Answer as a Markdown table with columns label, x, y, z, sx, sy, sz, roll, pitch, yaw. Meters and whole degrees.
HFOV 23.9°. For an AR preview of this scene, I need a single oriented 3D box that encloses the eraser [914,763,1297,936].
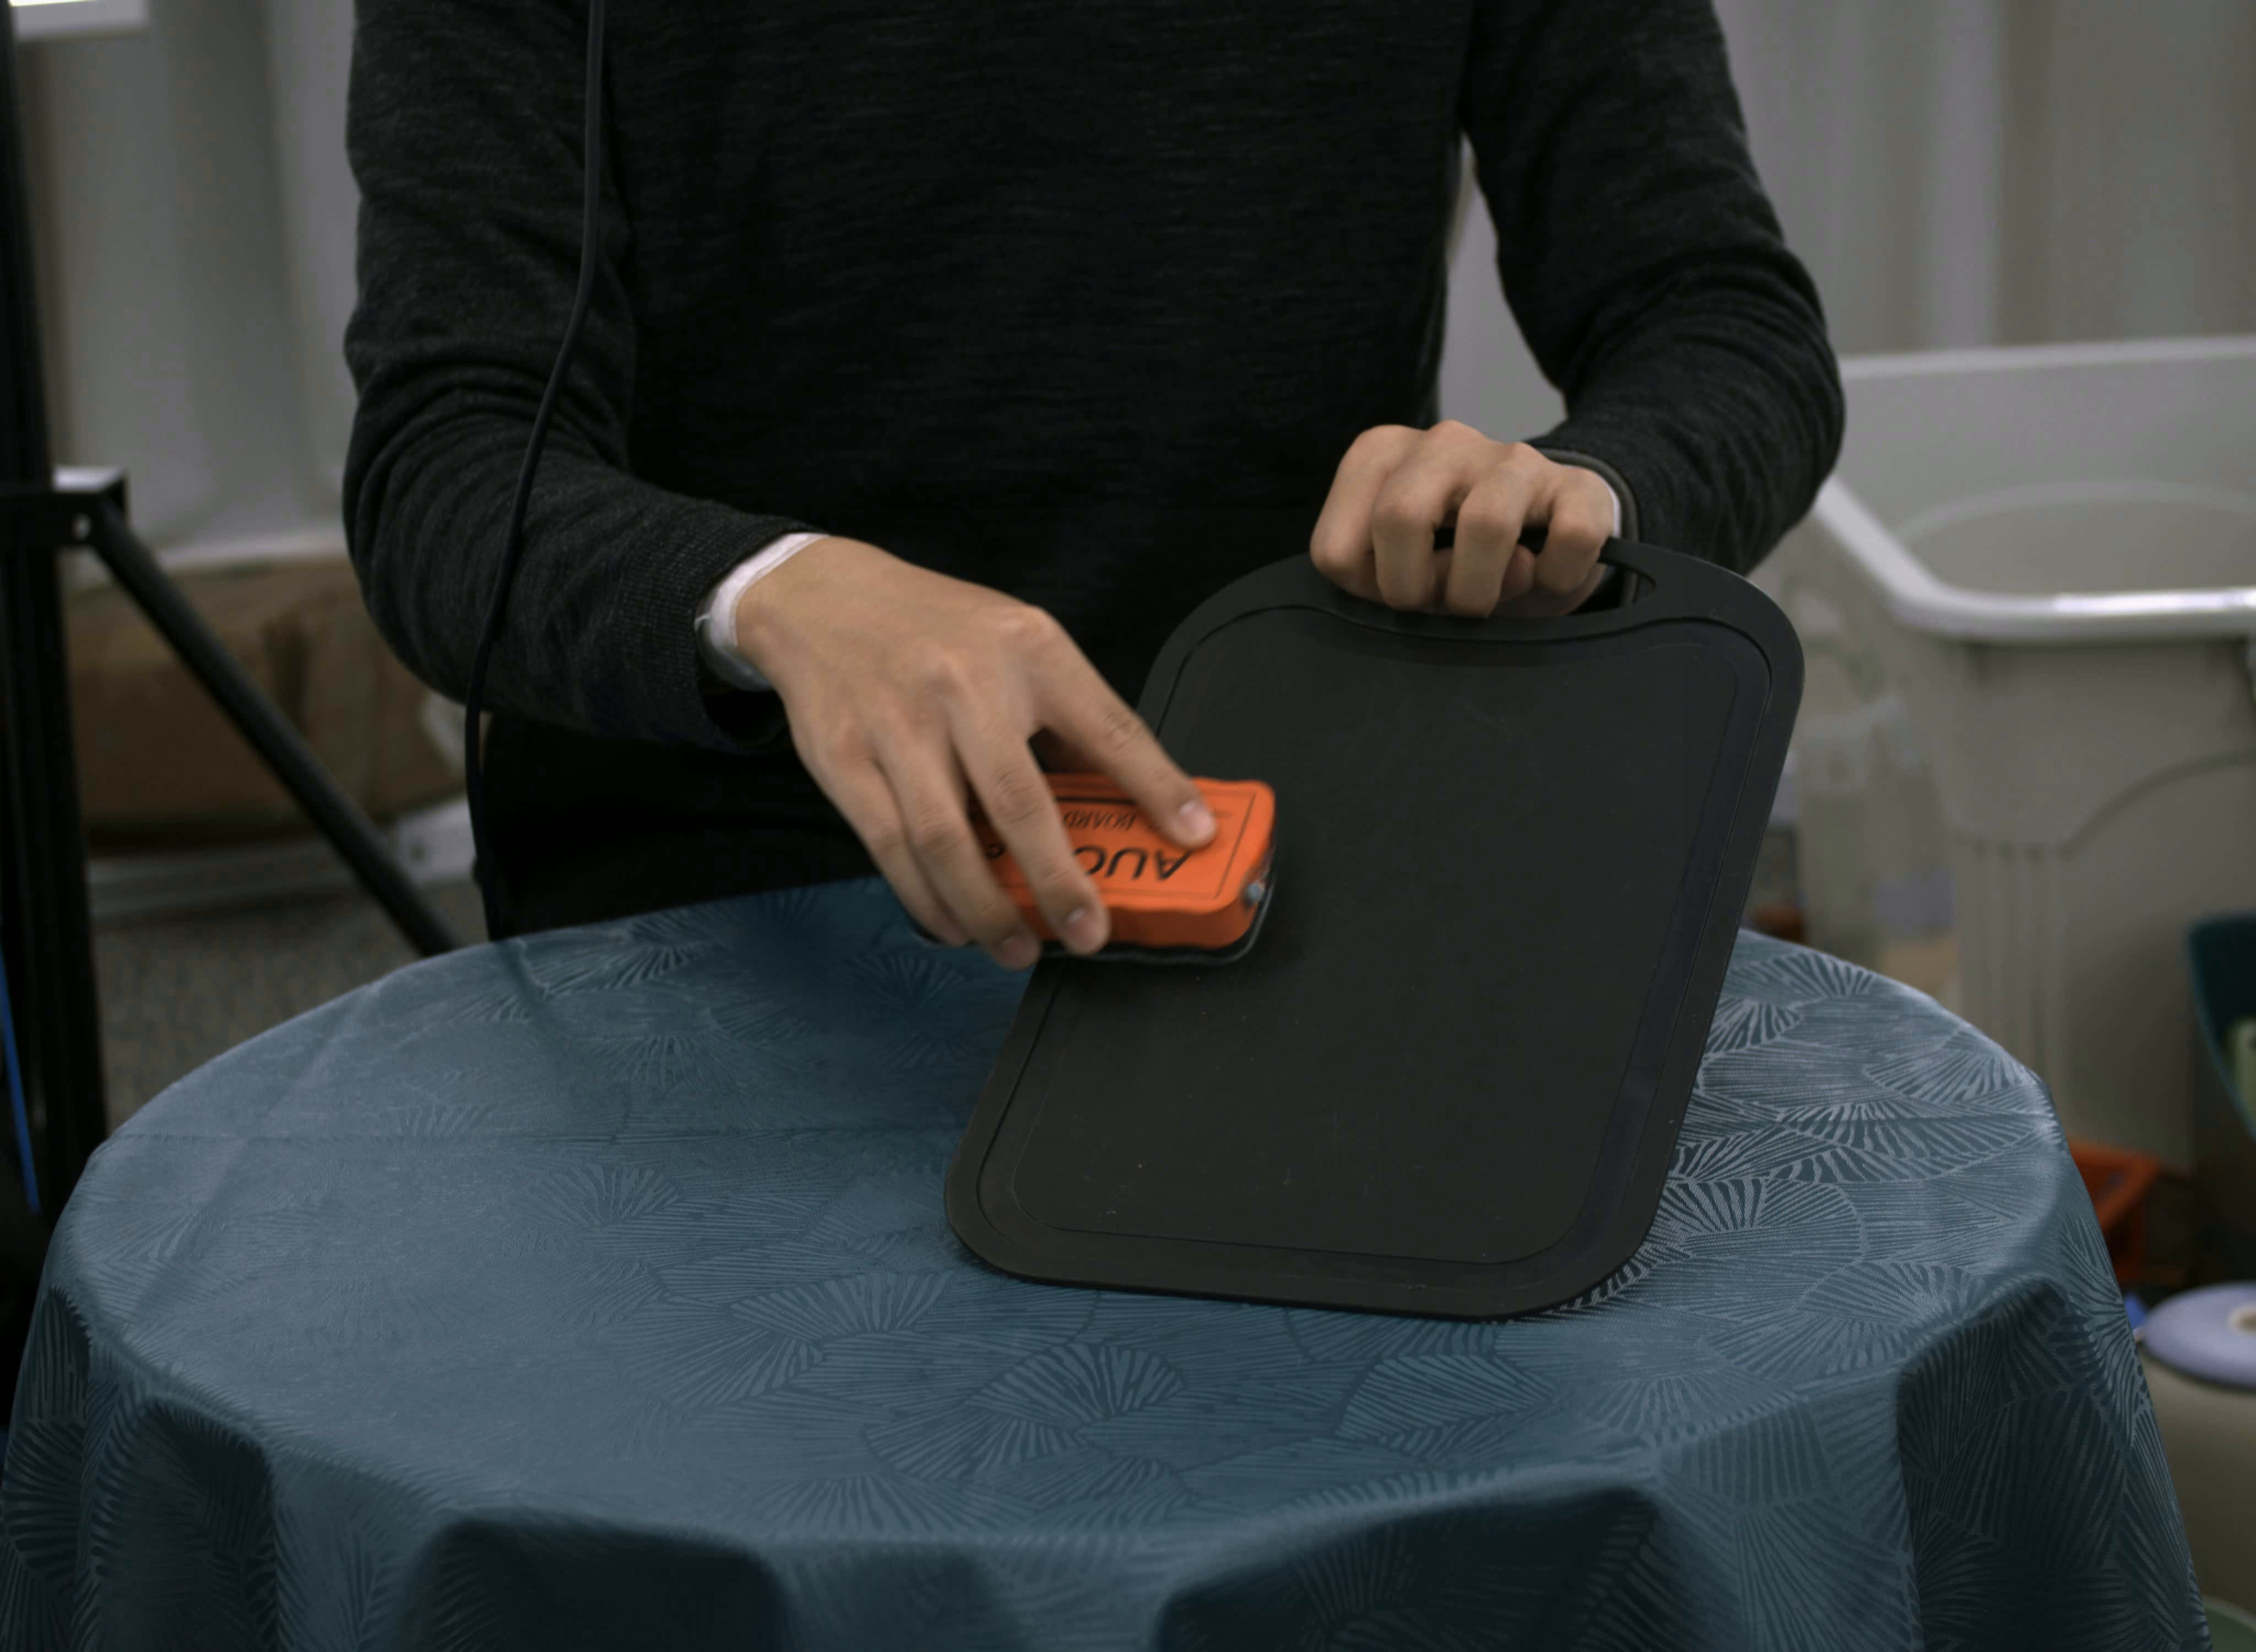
| label | x | y | z | sx | sy | sz | roll | pitch | yaw |
| --- | --- | --- | --- | --- | --- | --- | --- | --- | --- |
| eraser | -0.006 | 0.007 | 1.600 | 0.109 | 0.022 | 0.059 | 0 | 38 | 21 |

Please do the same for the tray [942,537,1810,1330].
| label | x | y | z | sx | sy | sz | roll | pitch | yaw |
| --- | --- | --- | --- | --- | --- | --- | --- | --- | --- |
| tray | 0.079 | 0.020 | 1.572 | 0.214 | 0.009 | 0.325 | 3 | 45 | 21 |
